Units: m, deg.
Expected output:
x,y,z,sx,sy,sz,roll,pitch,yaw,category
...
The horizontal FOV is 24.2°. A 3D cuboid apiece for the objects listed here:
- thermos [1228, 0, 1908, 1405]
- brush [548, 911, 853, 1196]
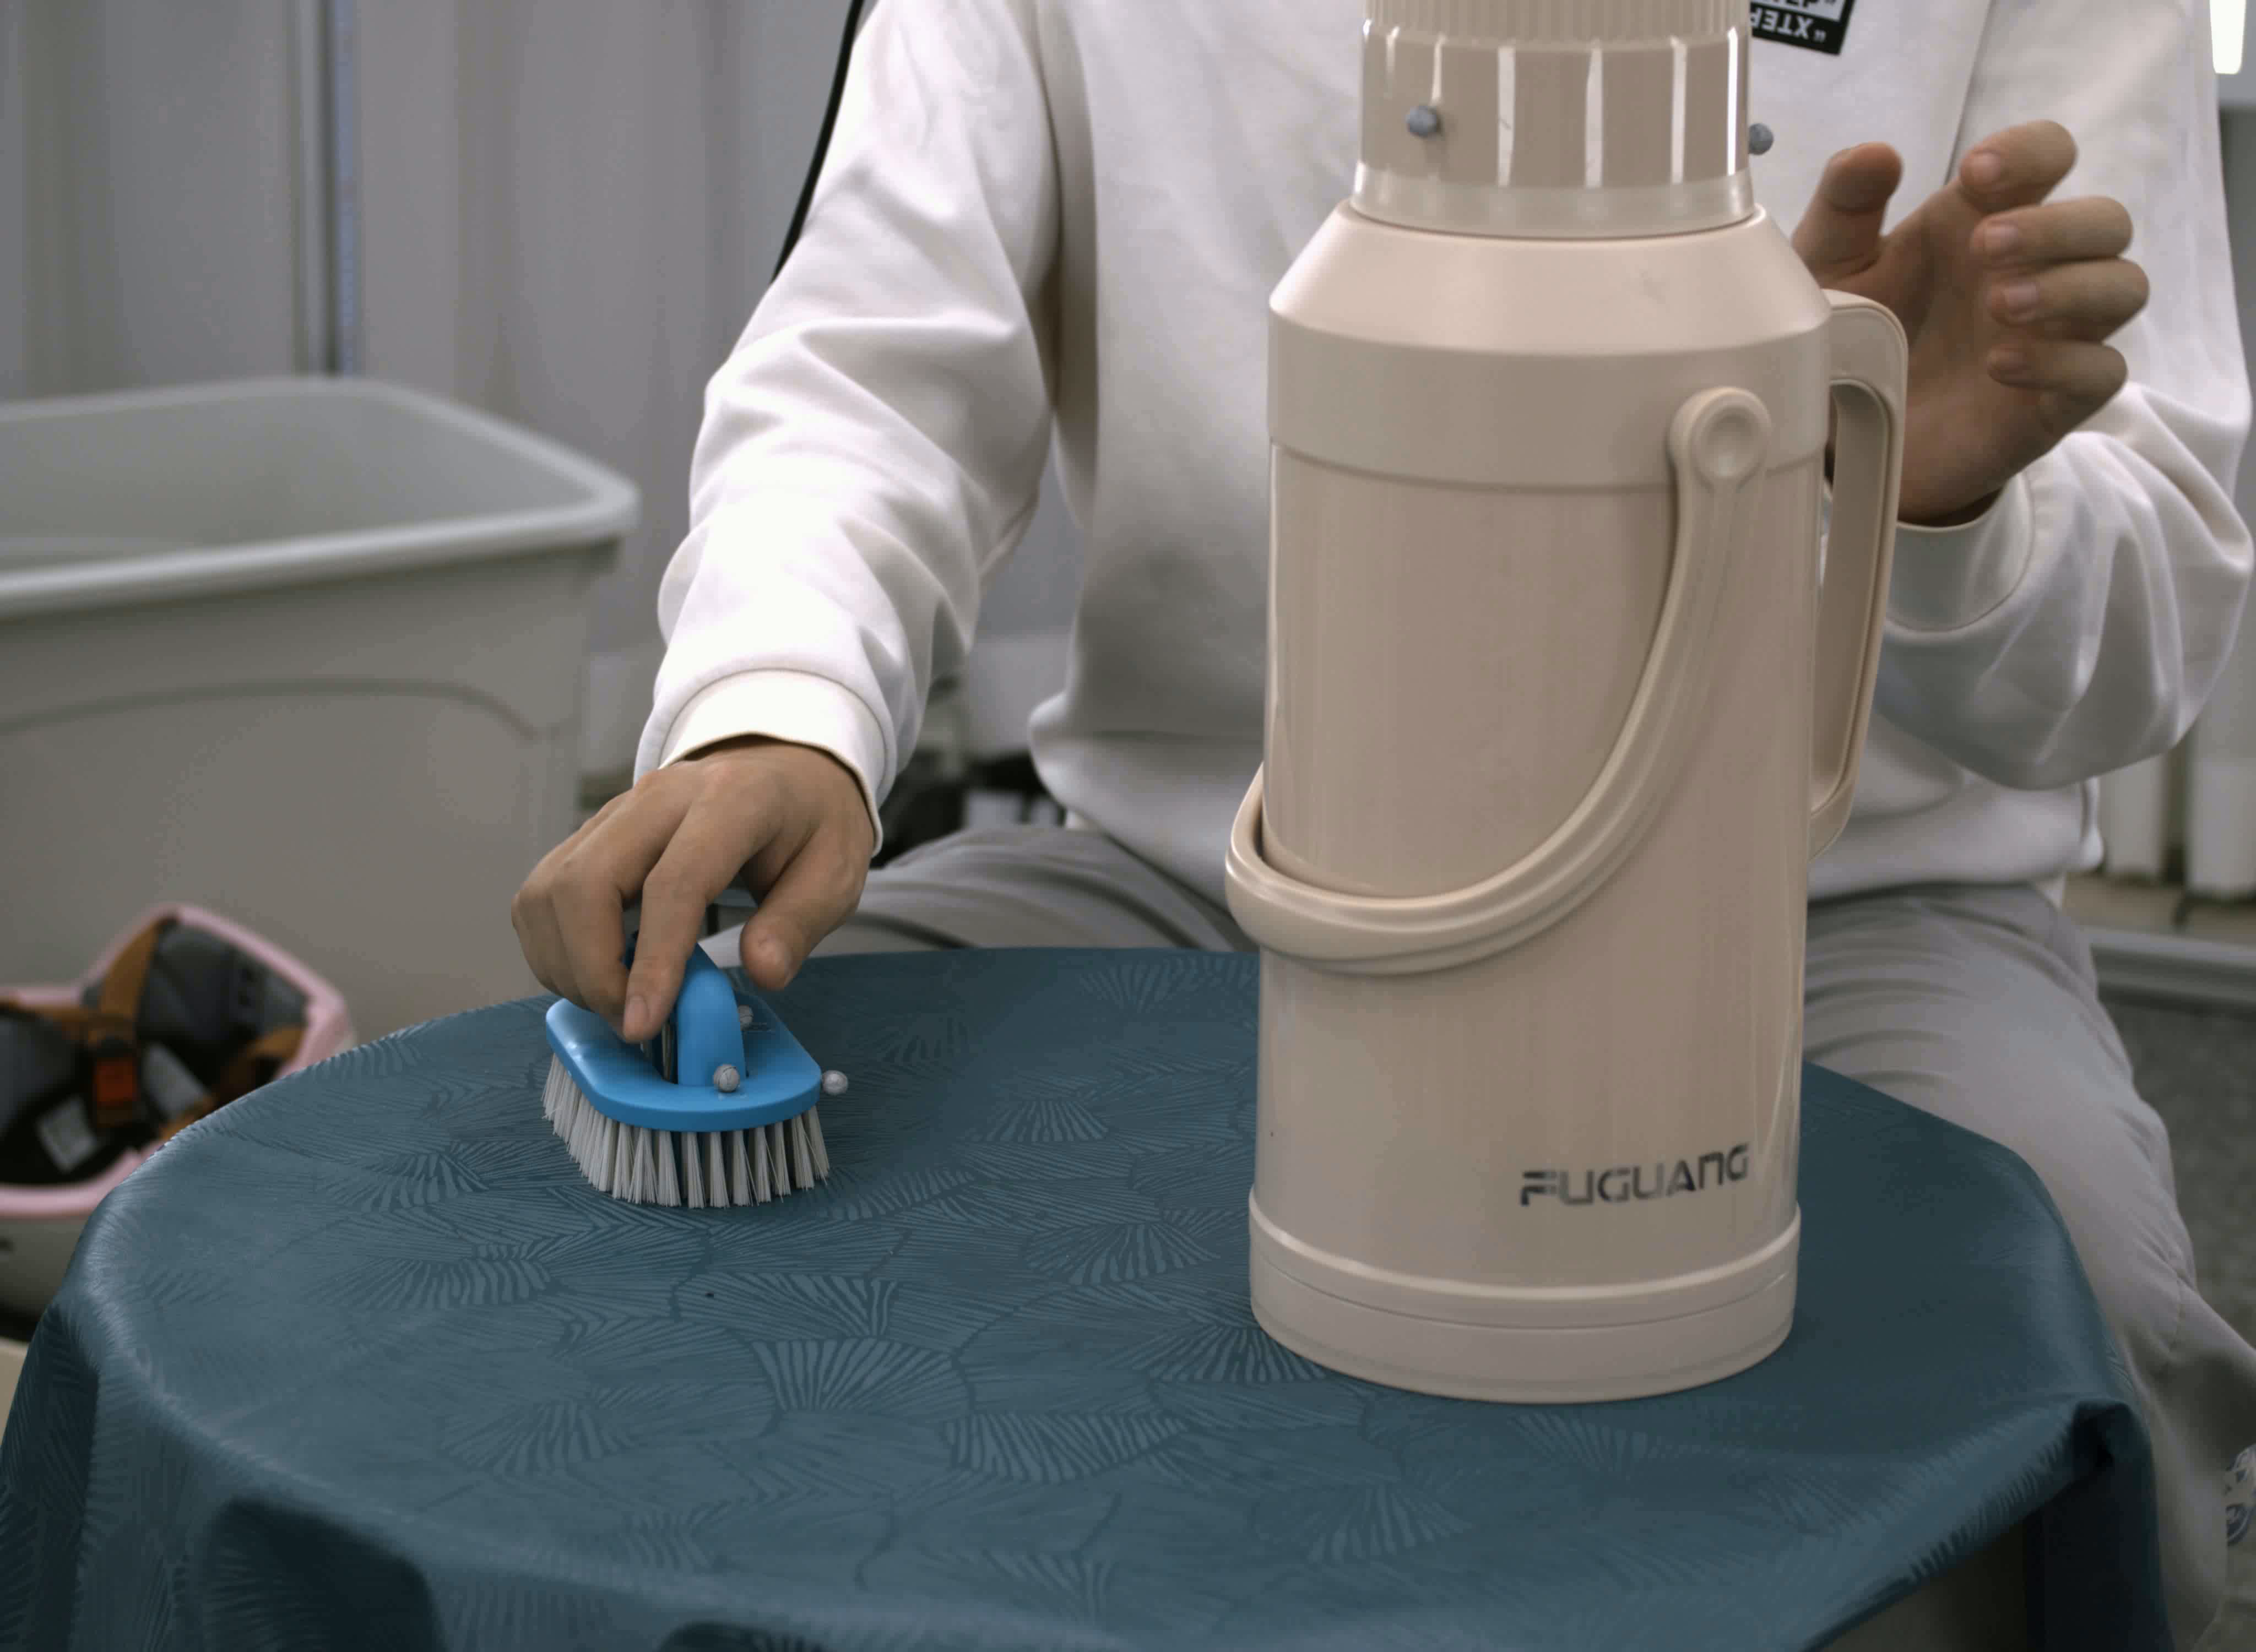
x,y,z,sx,sy,sz,roll,pitch,yaw,category
0.129,-0.053,1.486,0.208,0.409,0.173,-9,17,-30,thermos
-0.138,0.065,1.664,0.084,0.064,0.140,-8,17,-14,brush
